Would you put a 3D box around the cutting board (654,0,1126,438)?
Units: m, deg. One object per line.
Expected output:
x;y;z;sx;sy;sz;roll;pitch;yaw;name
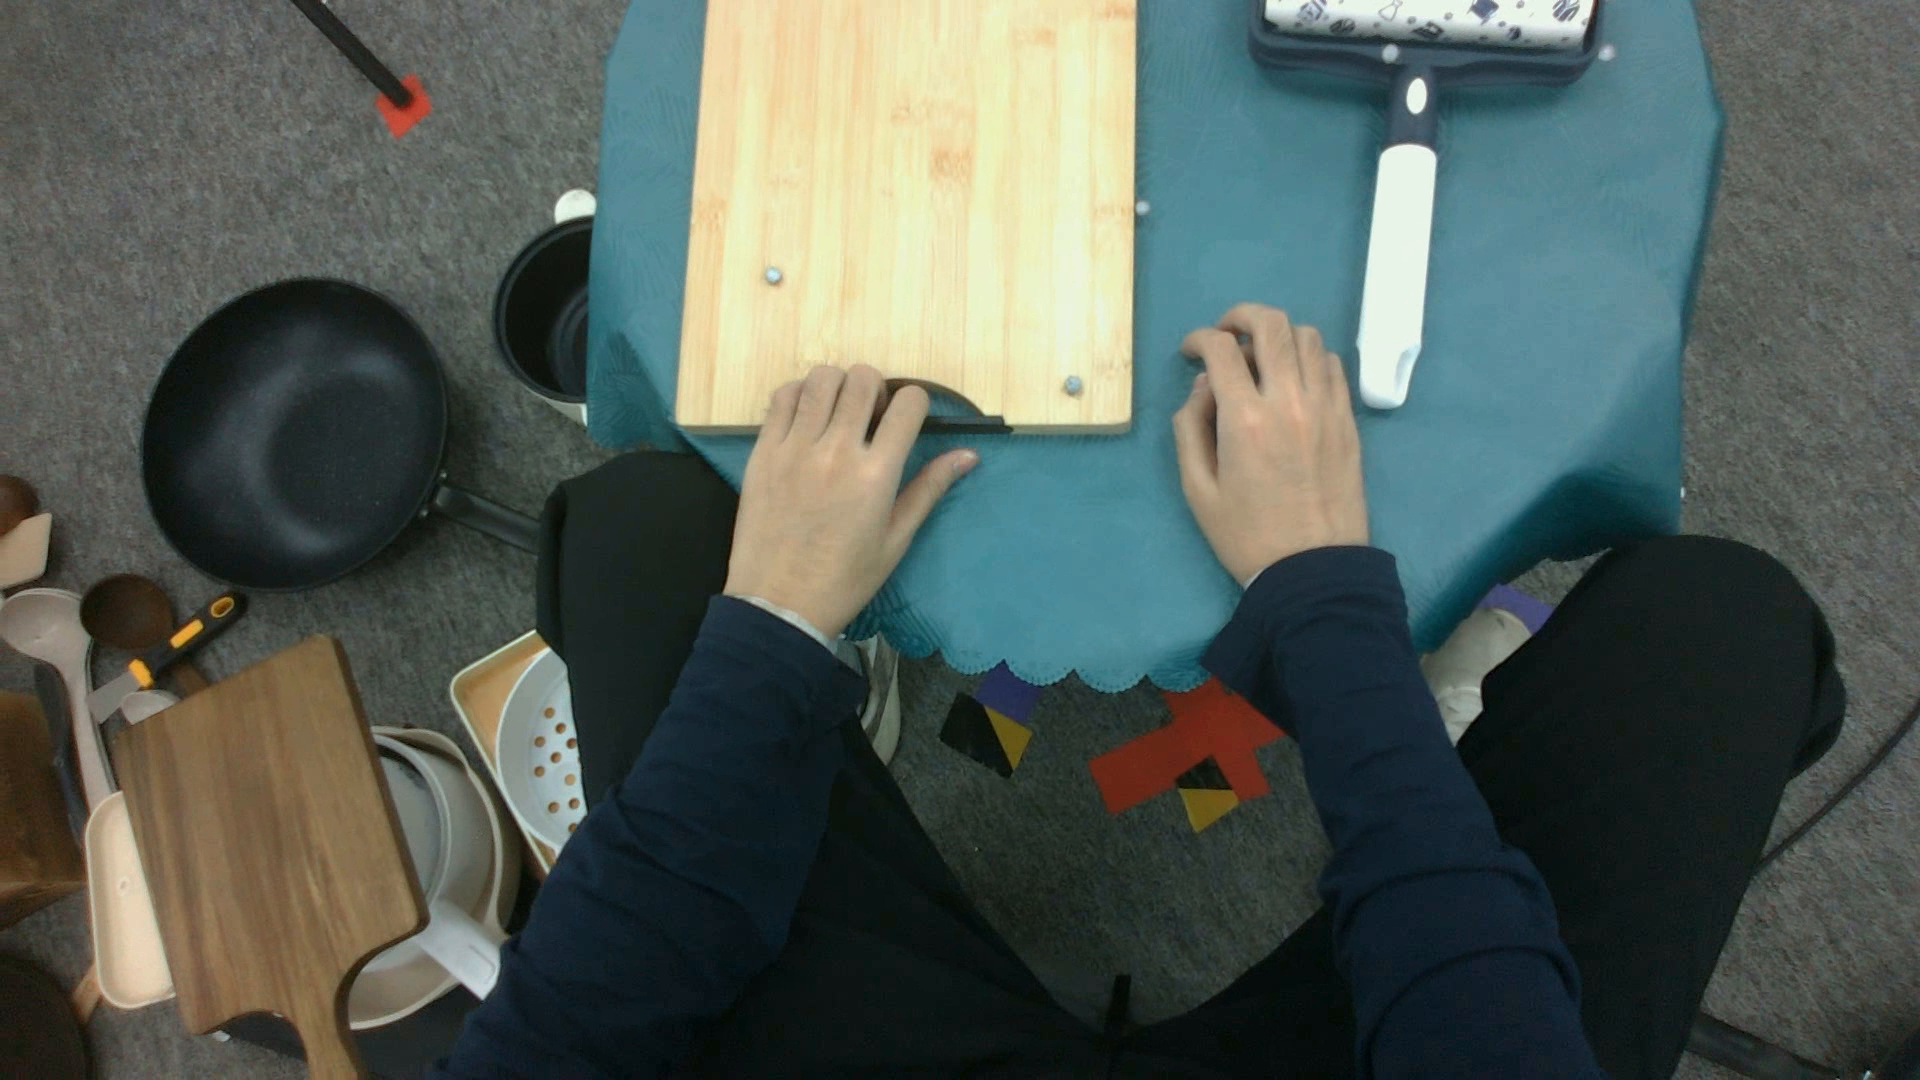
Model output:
-0.033;-0.223;0.753;0.250;0.023;0.349;0;77;7;cutting board

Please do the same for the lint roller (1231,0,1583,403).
0.220;-0.192;0.702;0.176;0.050;0.247;6;80;7;lint roller
